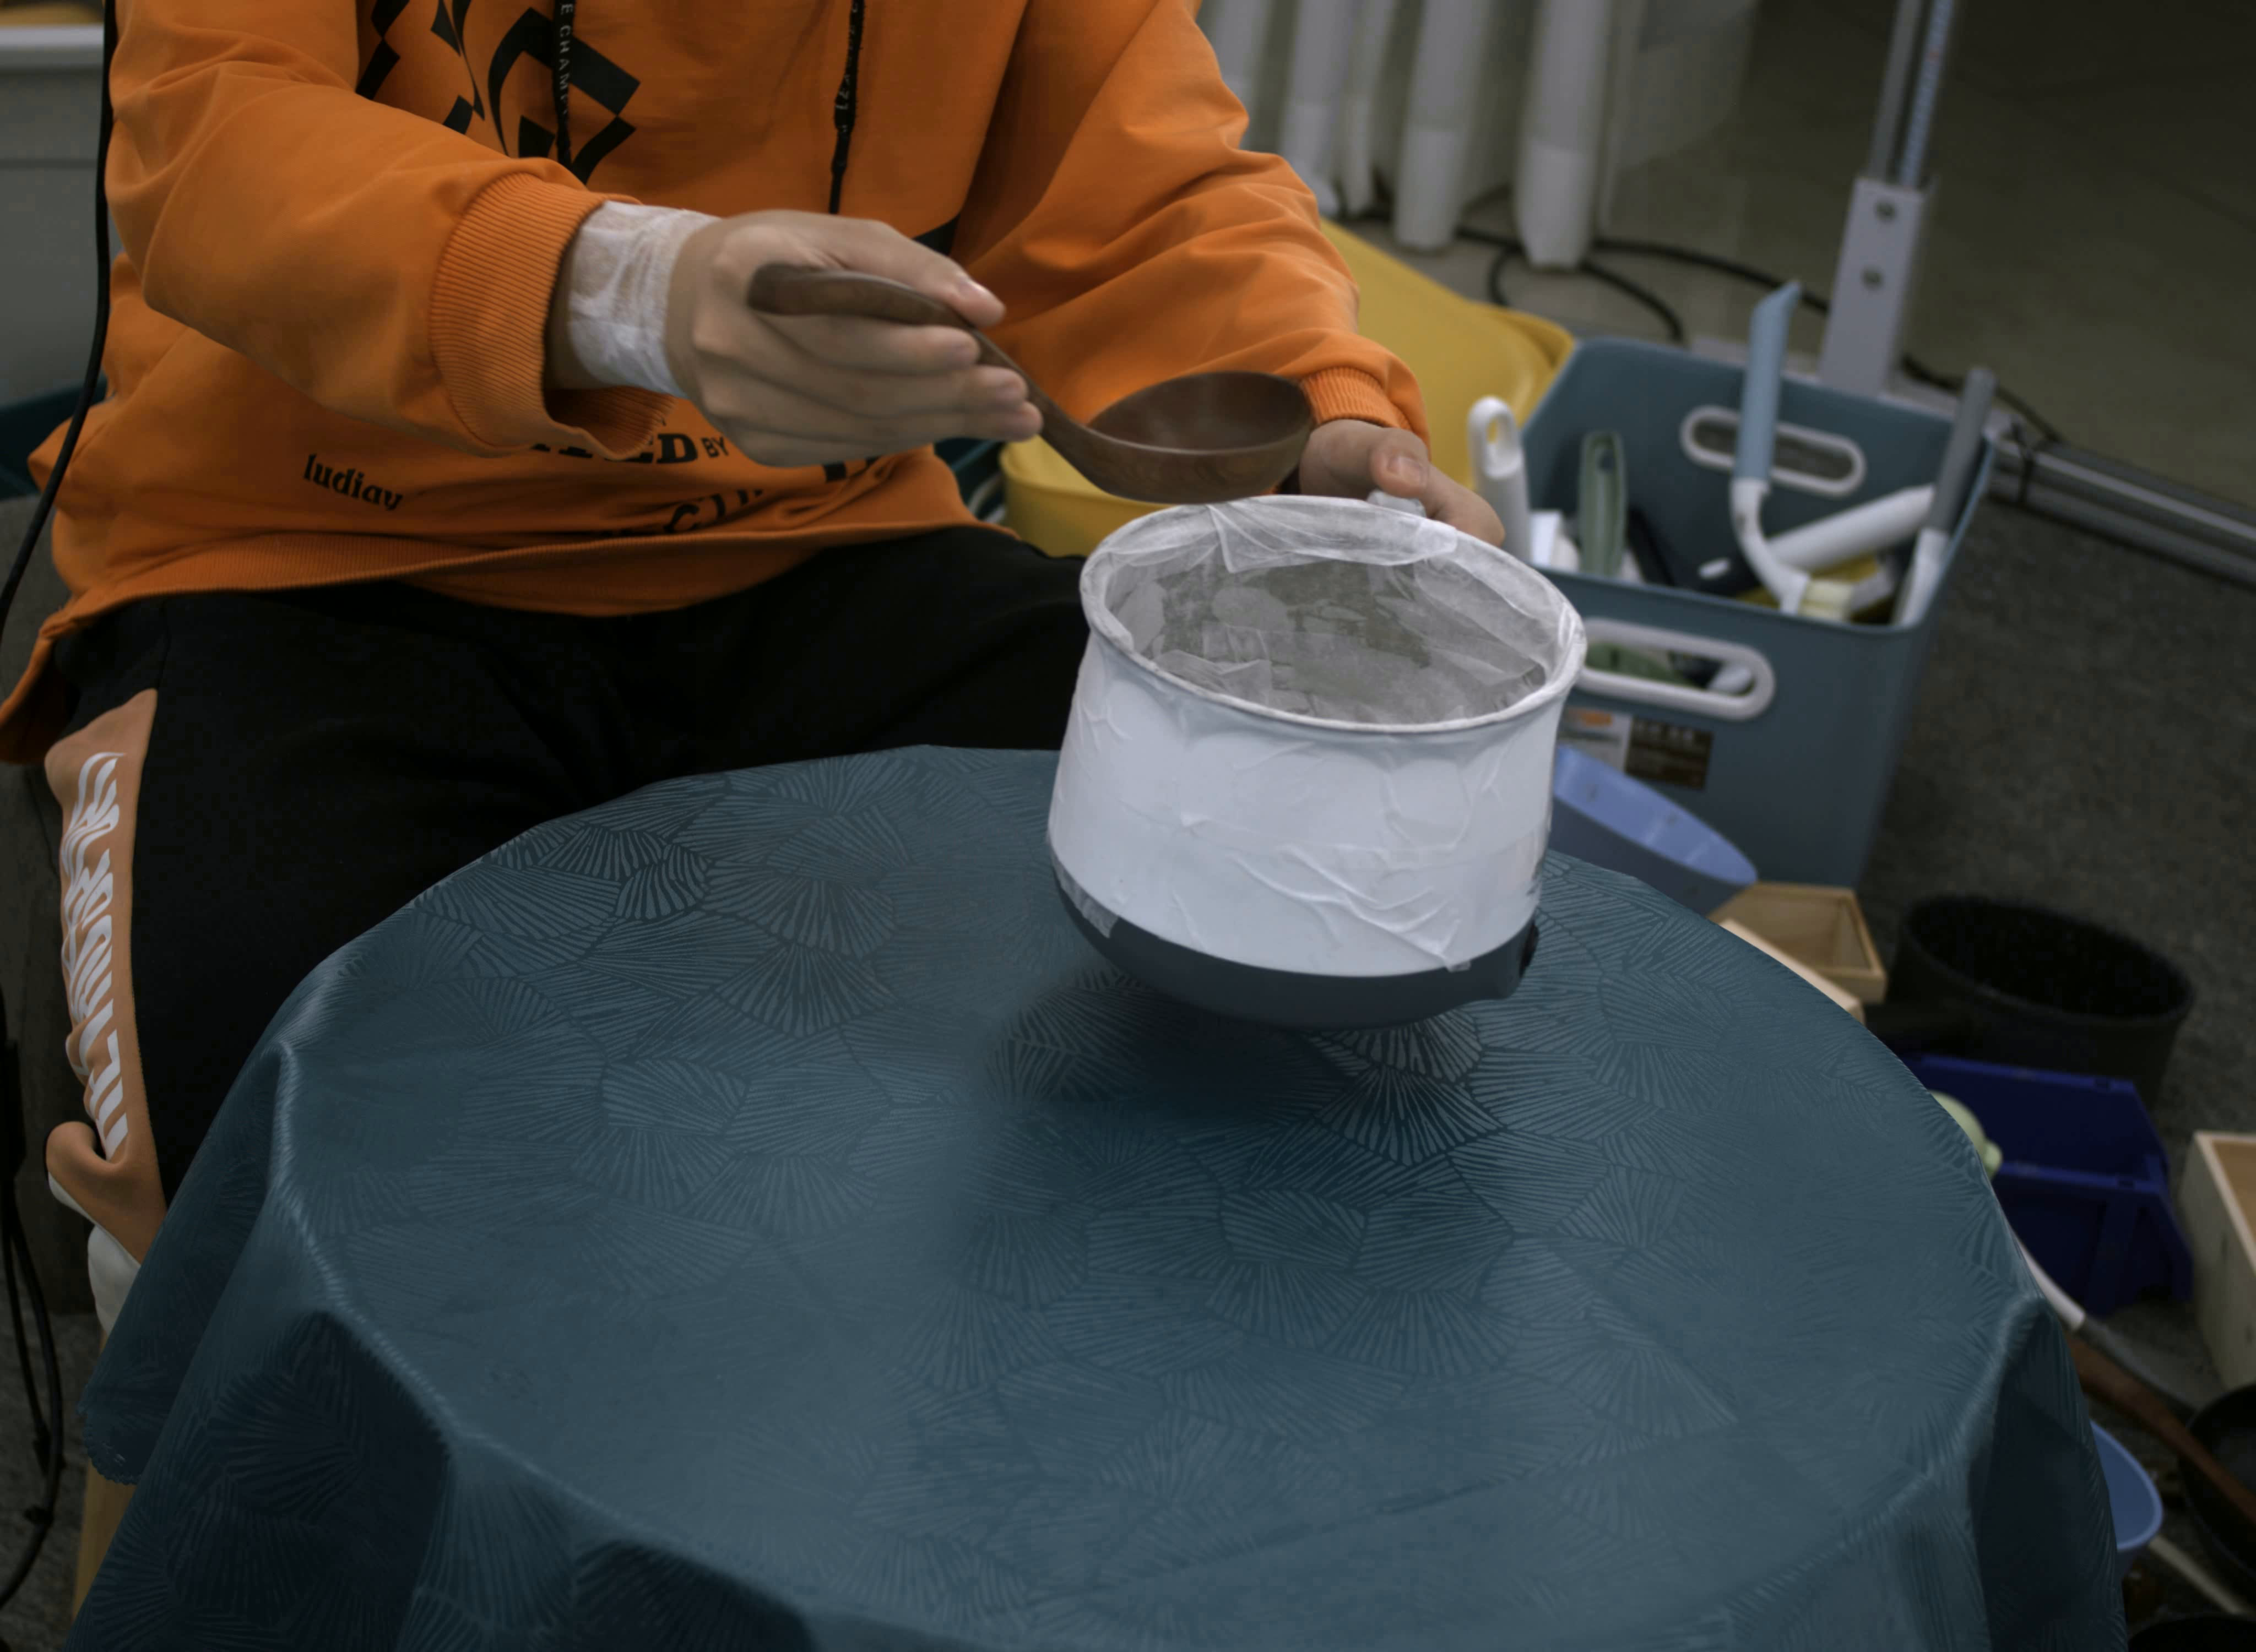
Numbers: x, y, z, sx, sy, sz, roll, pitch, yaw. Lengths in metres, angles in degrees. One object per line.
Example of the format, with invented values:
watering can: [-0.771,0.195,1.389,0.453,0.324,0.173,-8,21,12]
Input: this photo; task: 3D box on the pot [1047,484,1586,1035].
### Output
pot: [0.069,-0.033,1.893,0.179,0.136,0.234,13,29,9]

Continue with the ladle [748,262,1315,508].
ladle: [-0.031,-0.158,1.745,0.077,0.065,0.258,8,-11,40]
